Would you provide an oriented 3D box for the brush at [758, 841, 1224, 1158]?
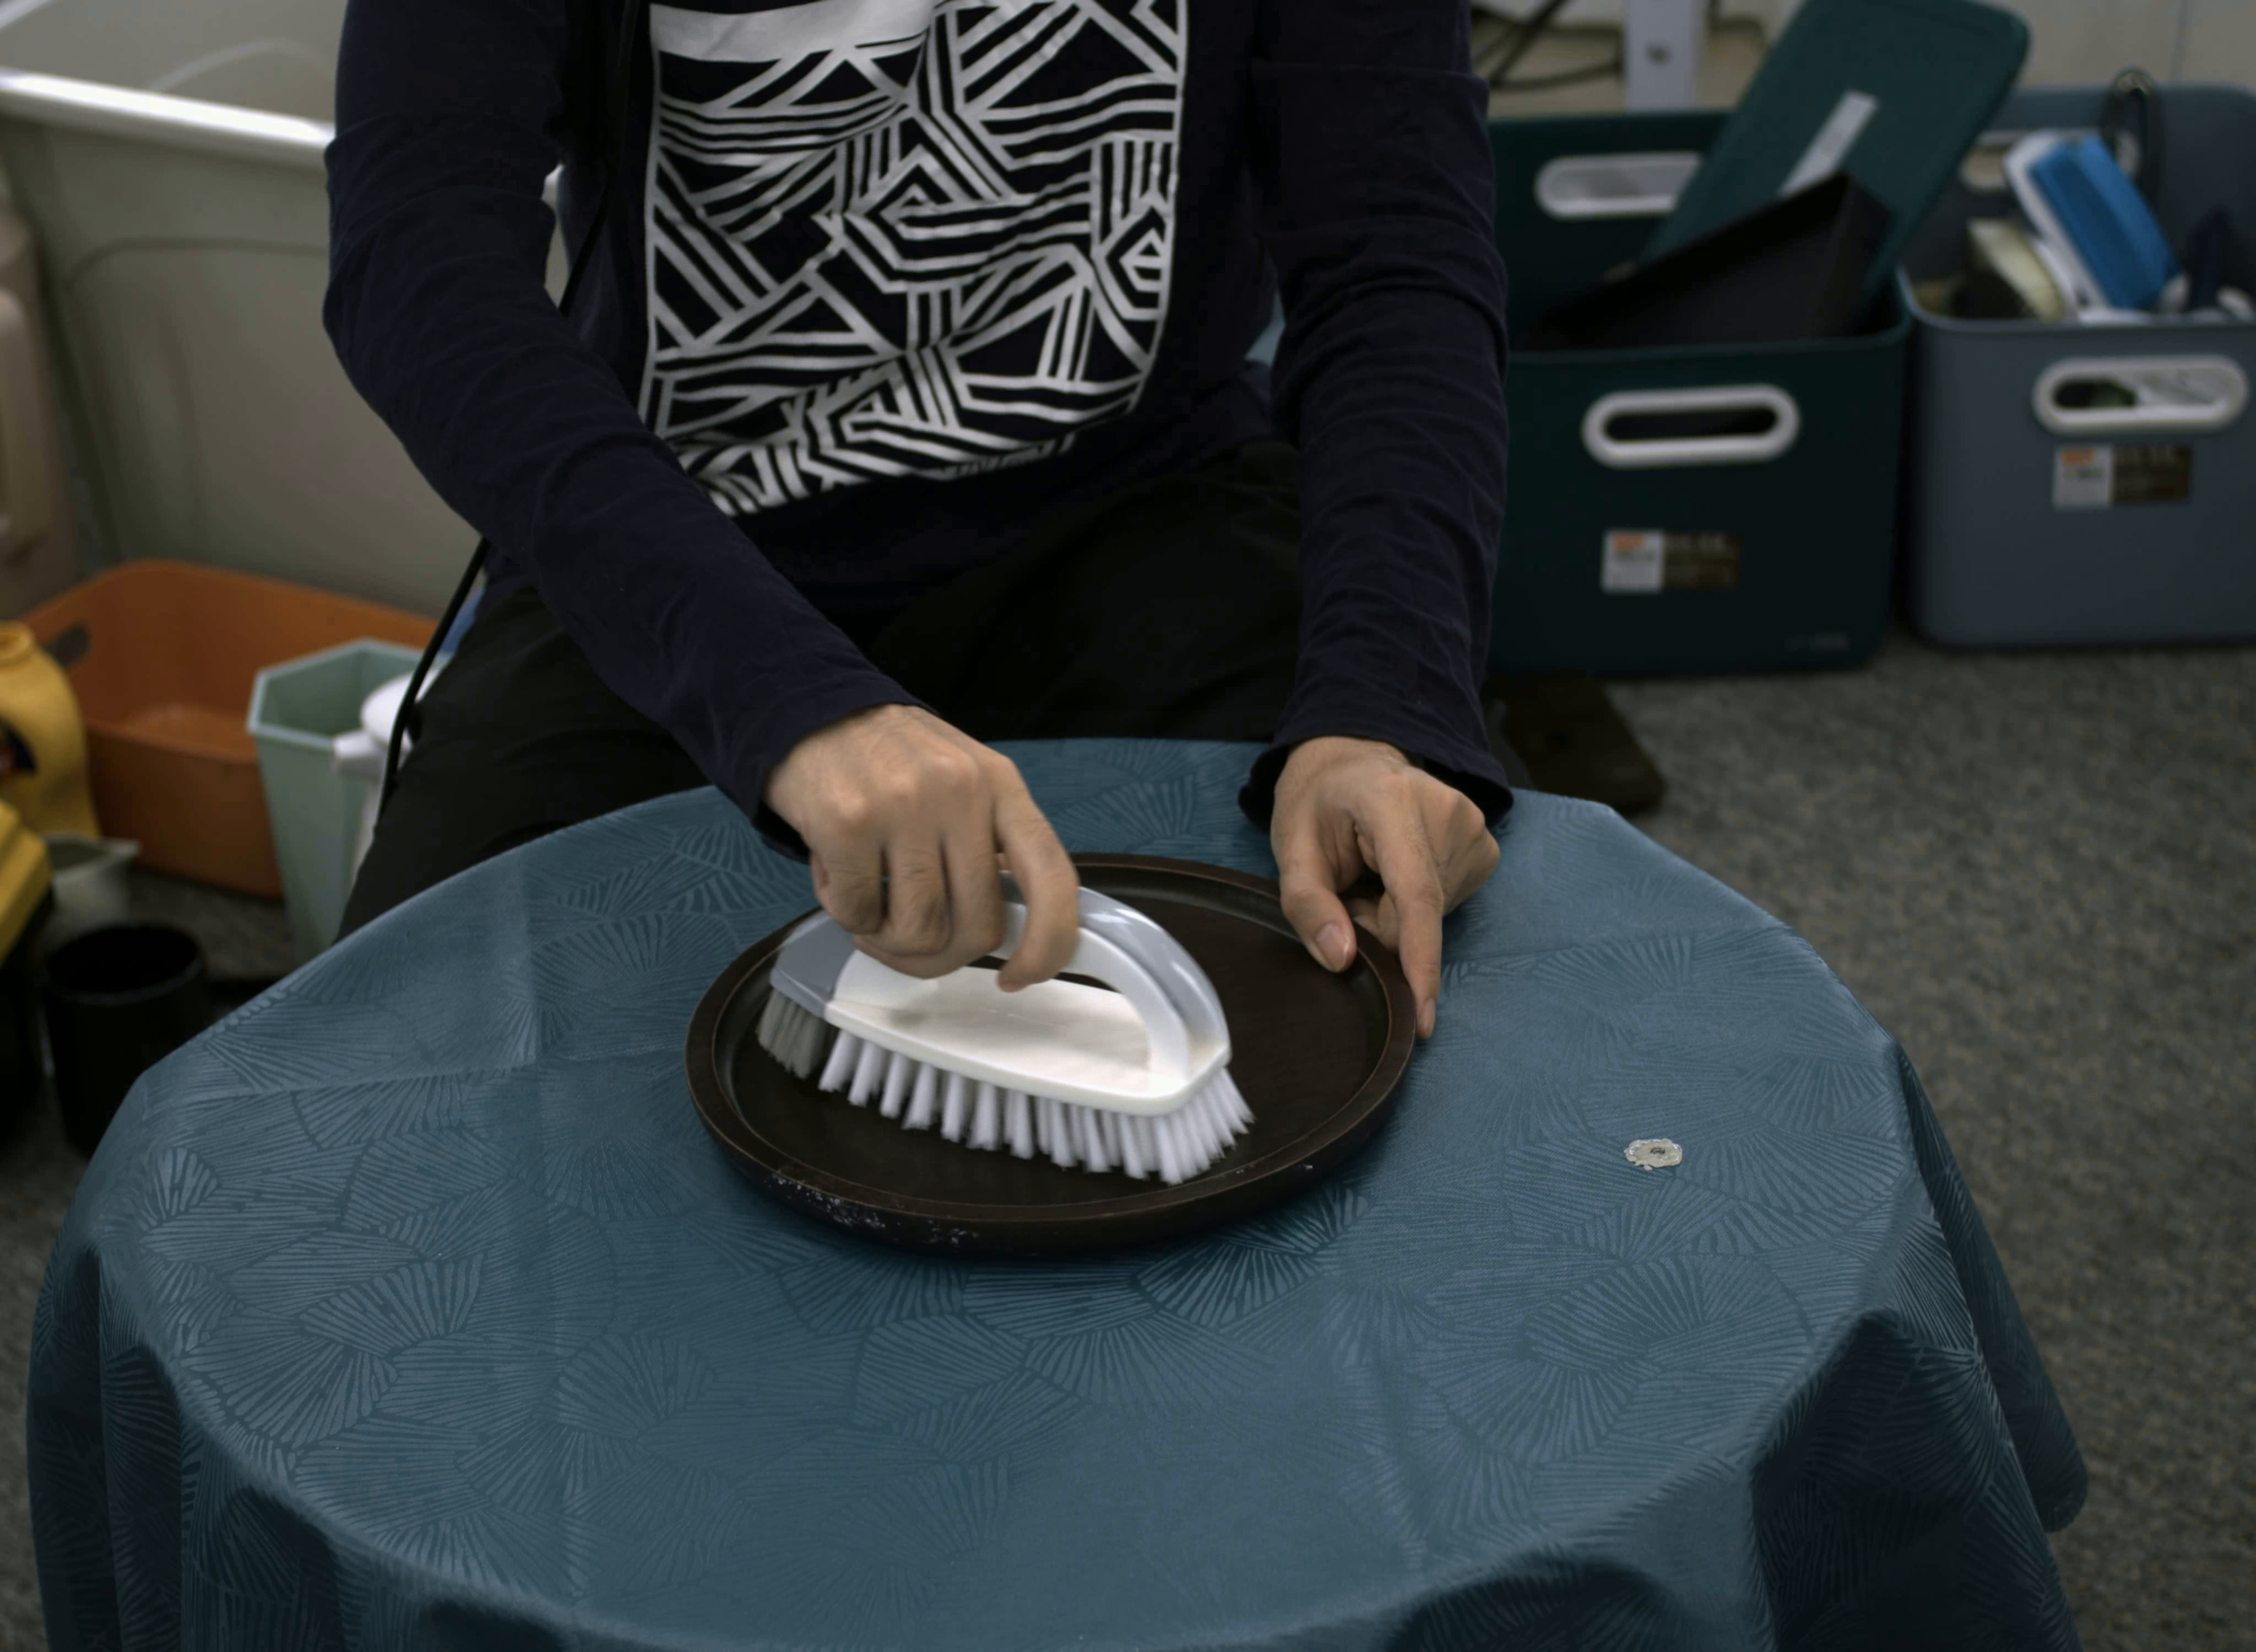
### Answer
[{"bbox_3d":[-0.054,0.048,1.862,0.174,0.093,0.062,13,31,30],"label":"brush"}]

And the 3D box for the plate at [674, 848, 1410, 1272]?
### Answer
[{"bbox_3d":[-0.029,0.081,1.923,0.253,0.029,0.259,-2,28,1],"label":"plate"}]
